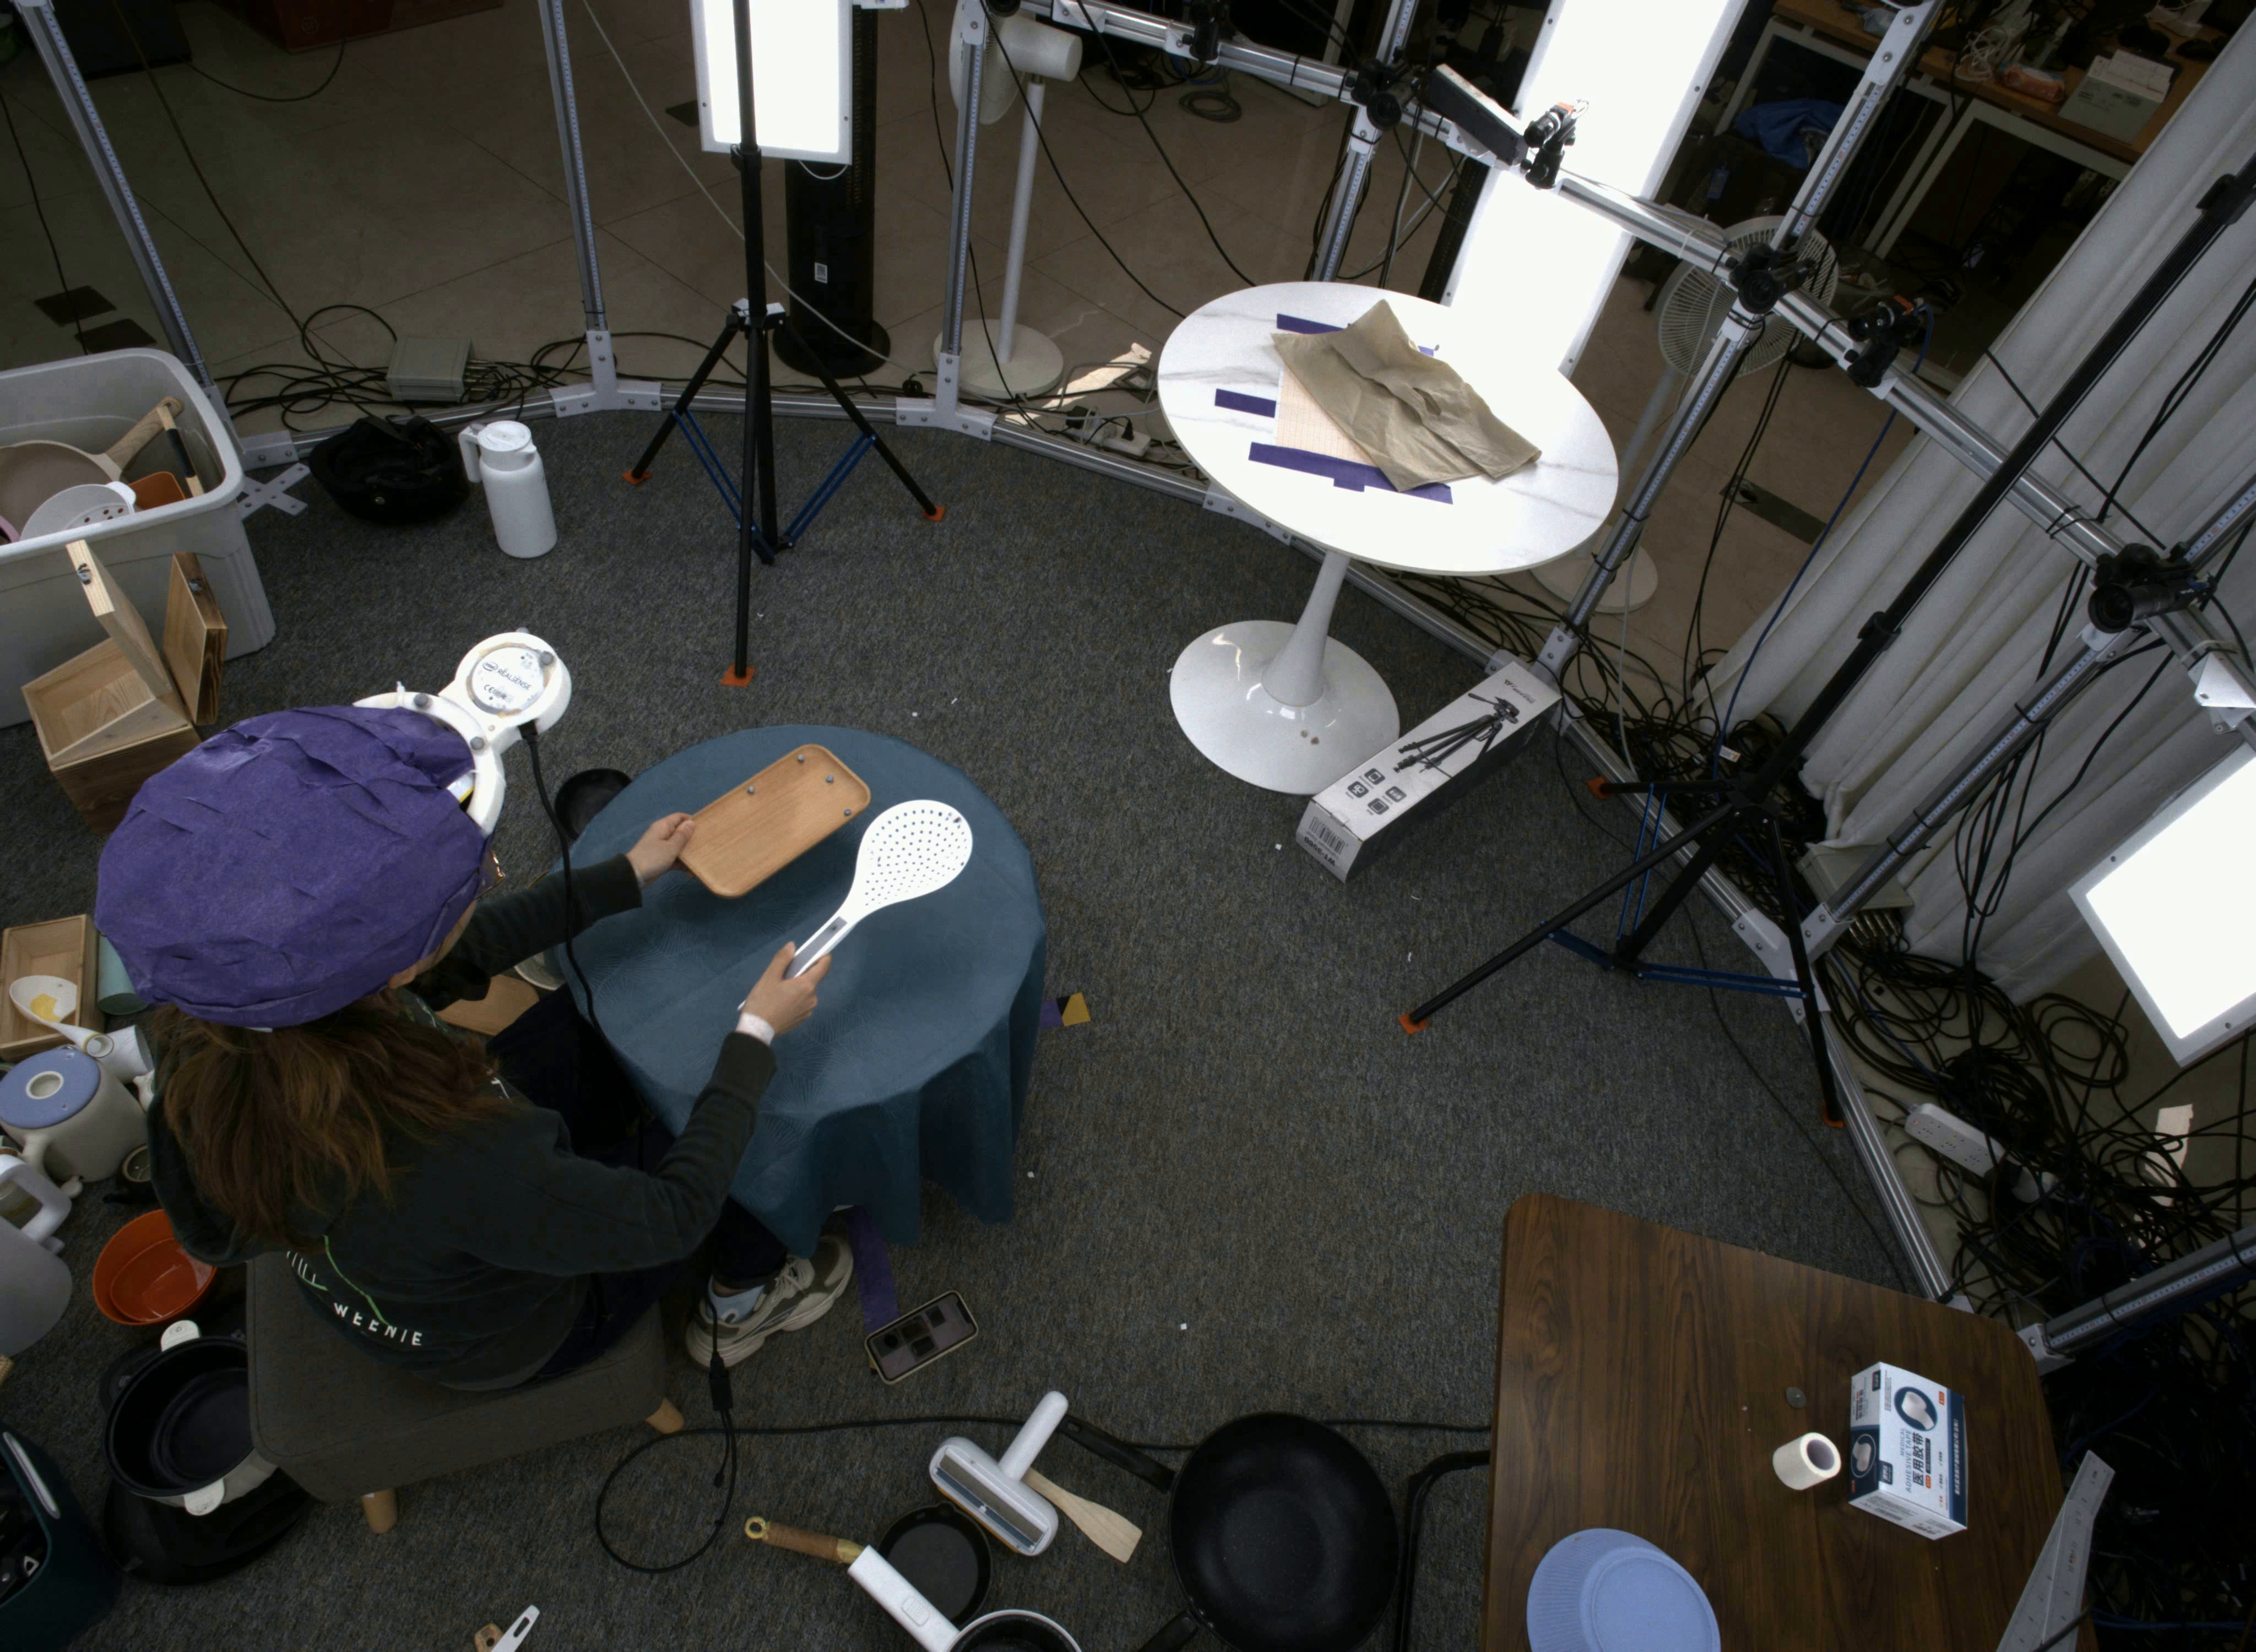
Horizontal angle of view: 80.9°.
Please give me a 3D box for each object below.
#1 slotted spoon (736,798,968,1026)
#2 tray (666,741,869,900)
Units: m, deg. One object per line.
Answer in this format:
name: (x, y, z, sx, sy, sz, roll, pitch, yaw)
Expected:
slotted spoon: (-0.325, 0.099, 1.528, 0.132, 0.047, 0.349, 32, 60, 22)
tray: (-0.450, -0.011, 1.626, 0.128, 0.023, 0.251, 41, 55, 13)
